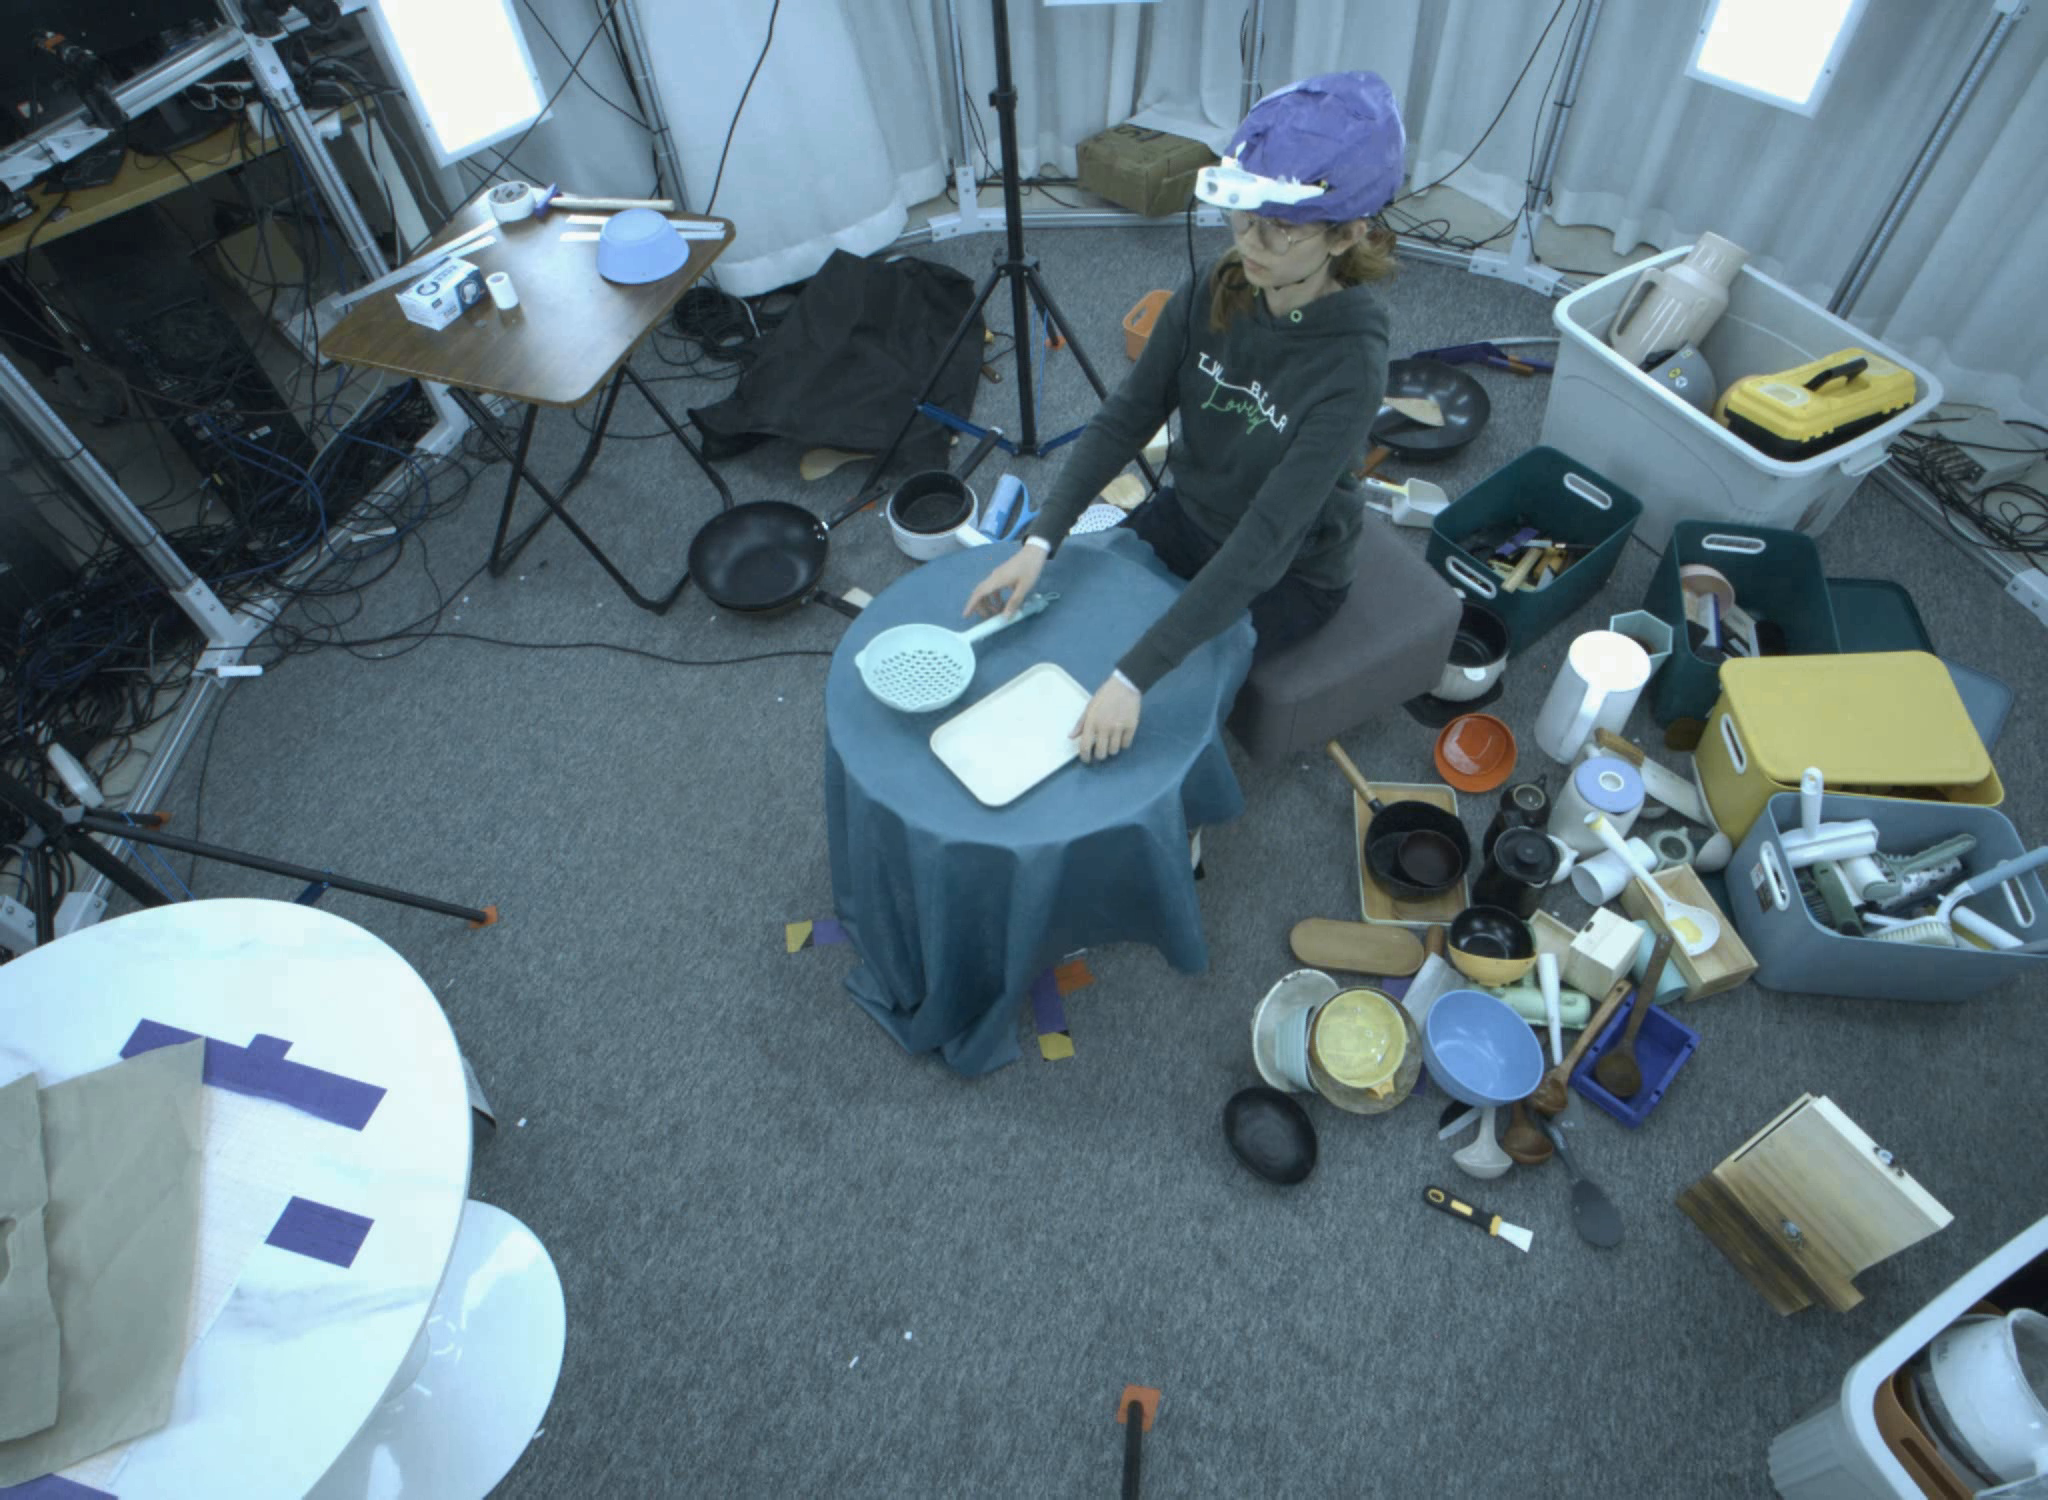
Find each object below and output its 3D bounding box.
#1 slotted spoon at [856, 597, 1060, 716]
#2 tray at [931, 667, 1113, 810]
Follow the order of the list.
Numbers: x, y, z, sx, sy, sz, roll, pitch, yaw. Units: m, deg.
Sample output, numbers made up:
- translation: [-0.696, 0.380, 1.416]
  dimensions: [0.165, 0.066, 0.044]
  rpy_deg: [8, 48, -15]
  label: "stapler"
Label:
- translation: [-0.083, -0.162, 1.875]
  dimensions: [0.361, 0.076, 0.166]
  rpy_deg: [-36, 62, -22]
  label: "slotted spoon"
- translation: [-0.003, -0.019, 1.801]
  dimensions: [0.241, 0.017, 0.168]
  rpy_deg: [-34, 61, -21]
  label: "tray"
